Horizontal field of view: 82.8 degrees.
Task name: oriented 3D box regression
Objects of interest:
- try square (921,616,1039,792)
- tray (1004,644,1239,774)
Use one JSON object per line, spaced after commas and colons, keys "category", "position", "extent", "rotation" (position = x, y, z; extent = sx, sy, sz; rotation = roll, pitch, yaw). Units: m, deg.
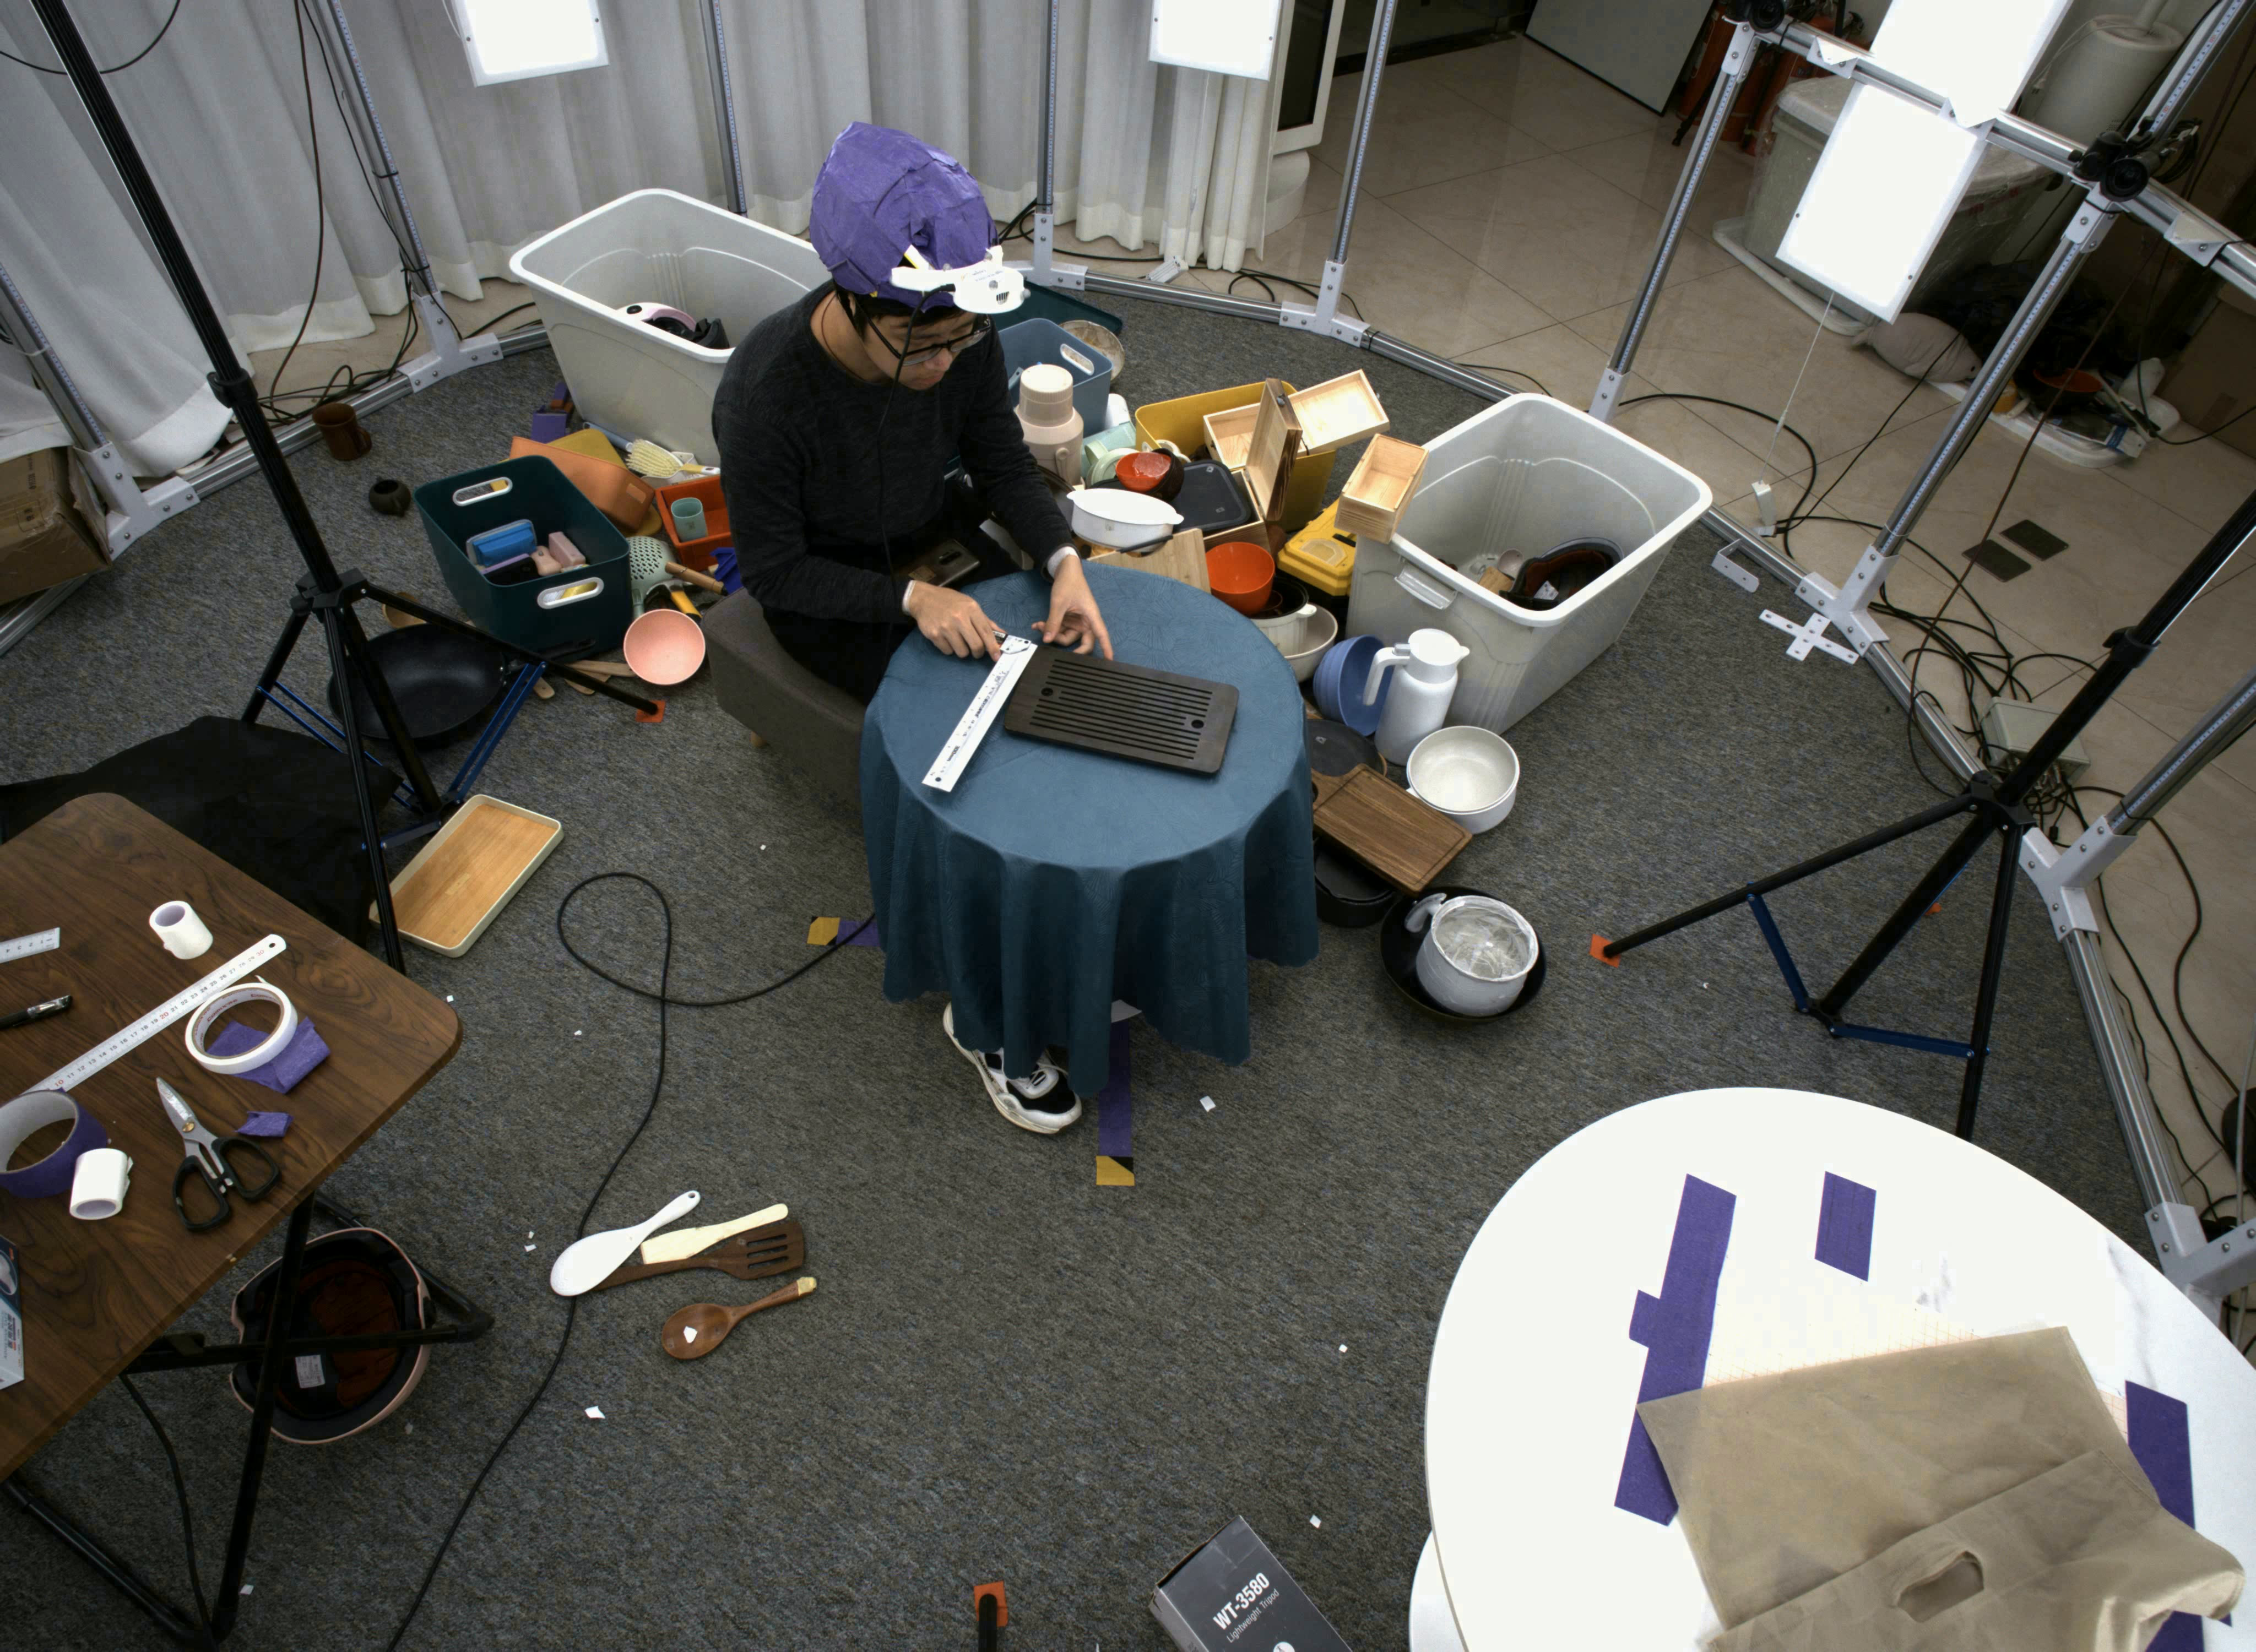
{"category": "try square", "position": [-0.249, -0.175, 1.776], "extent": [0.153, 0.015, 0.319], "rotation": [16, 49, 12]}
{"category": "tray", "position": [-0.007, -0.165, 1.798], "extent": [0.306, 0.018, 0.174], "rotation": [13, 51, 7]}
